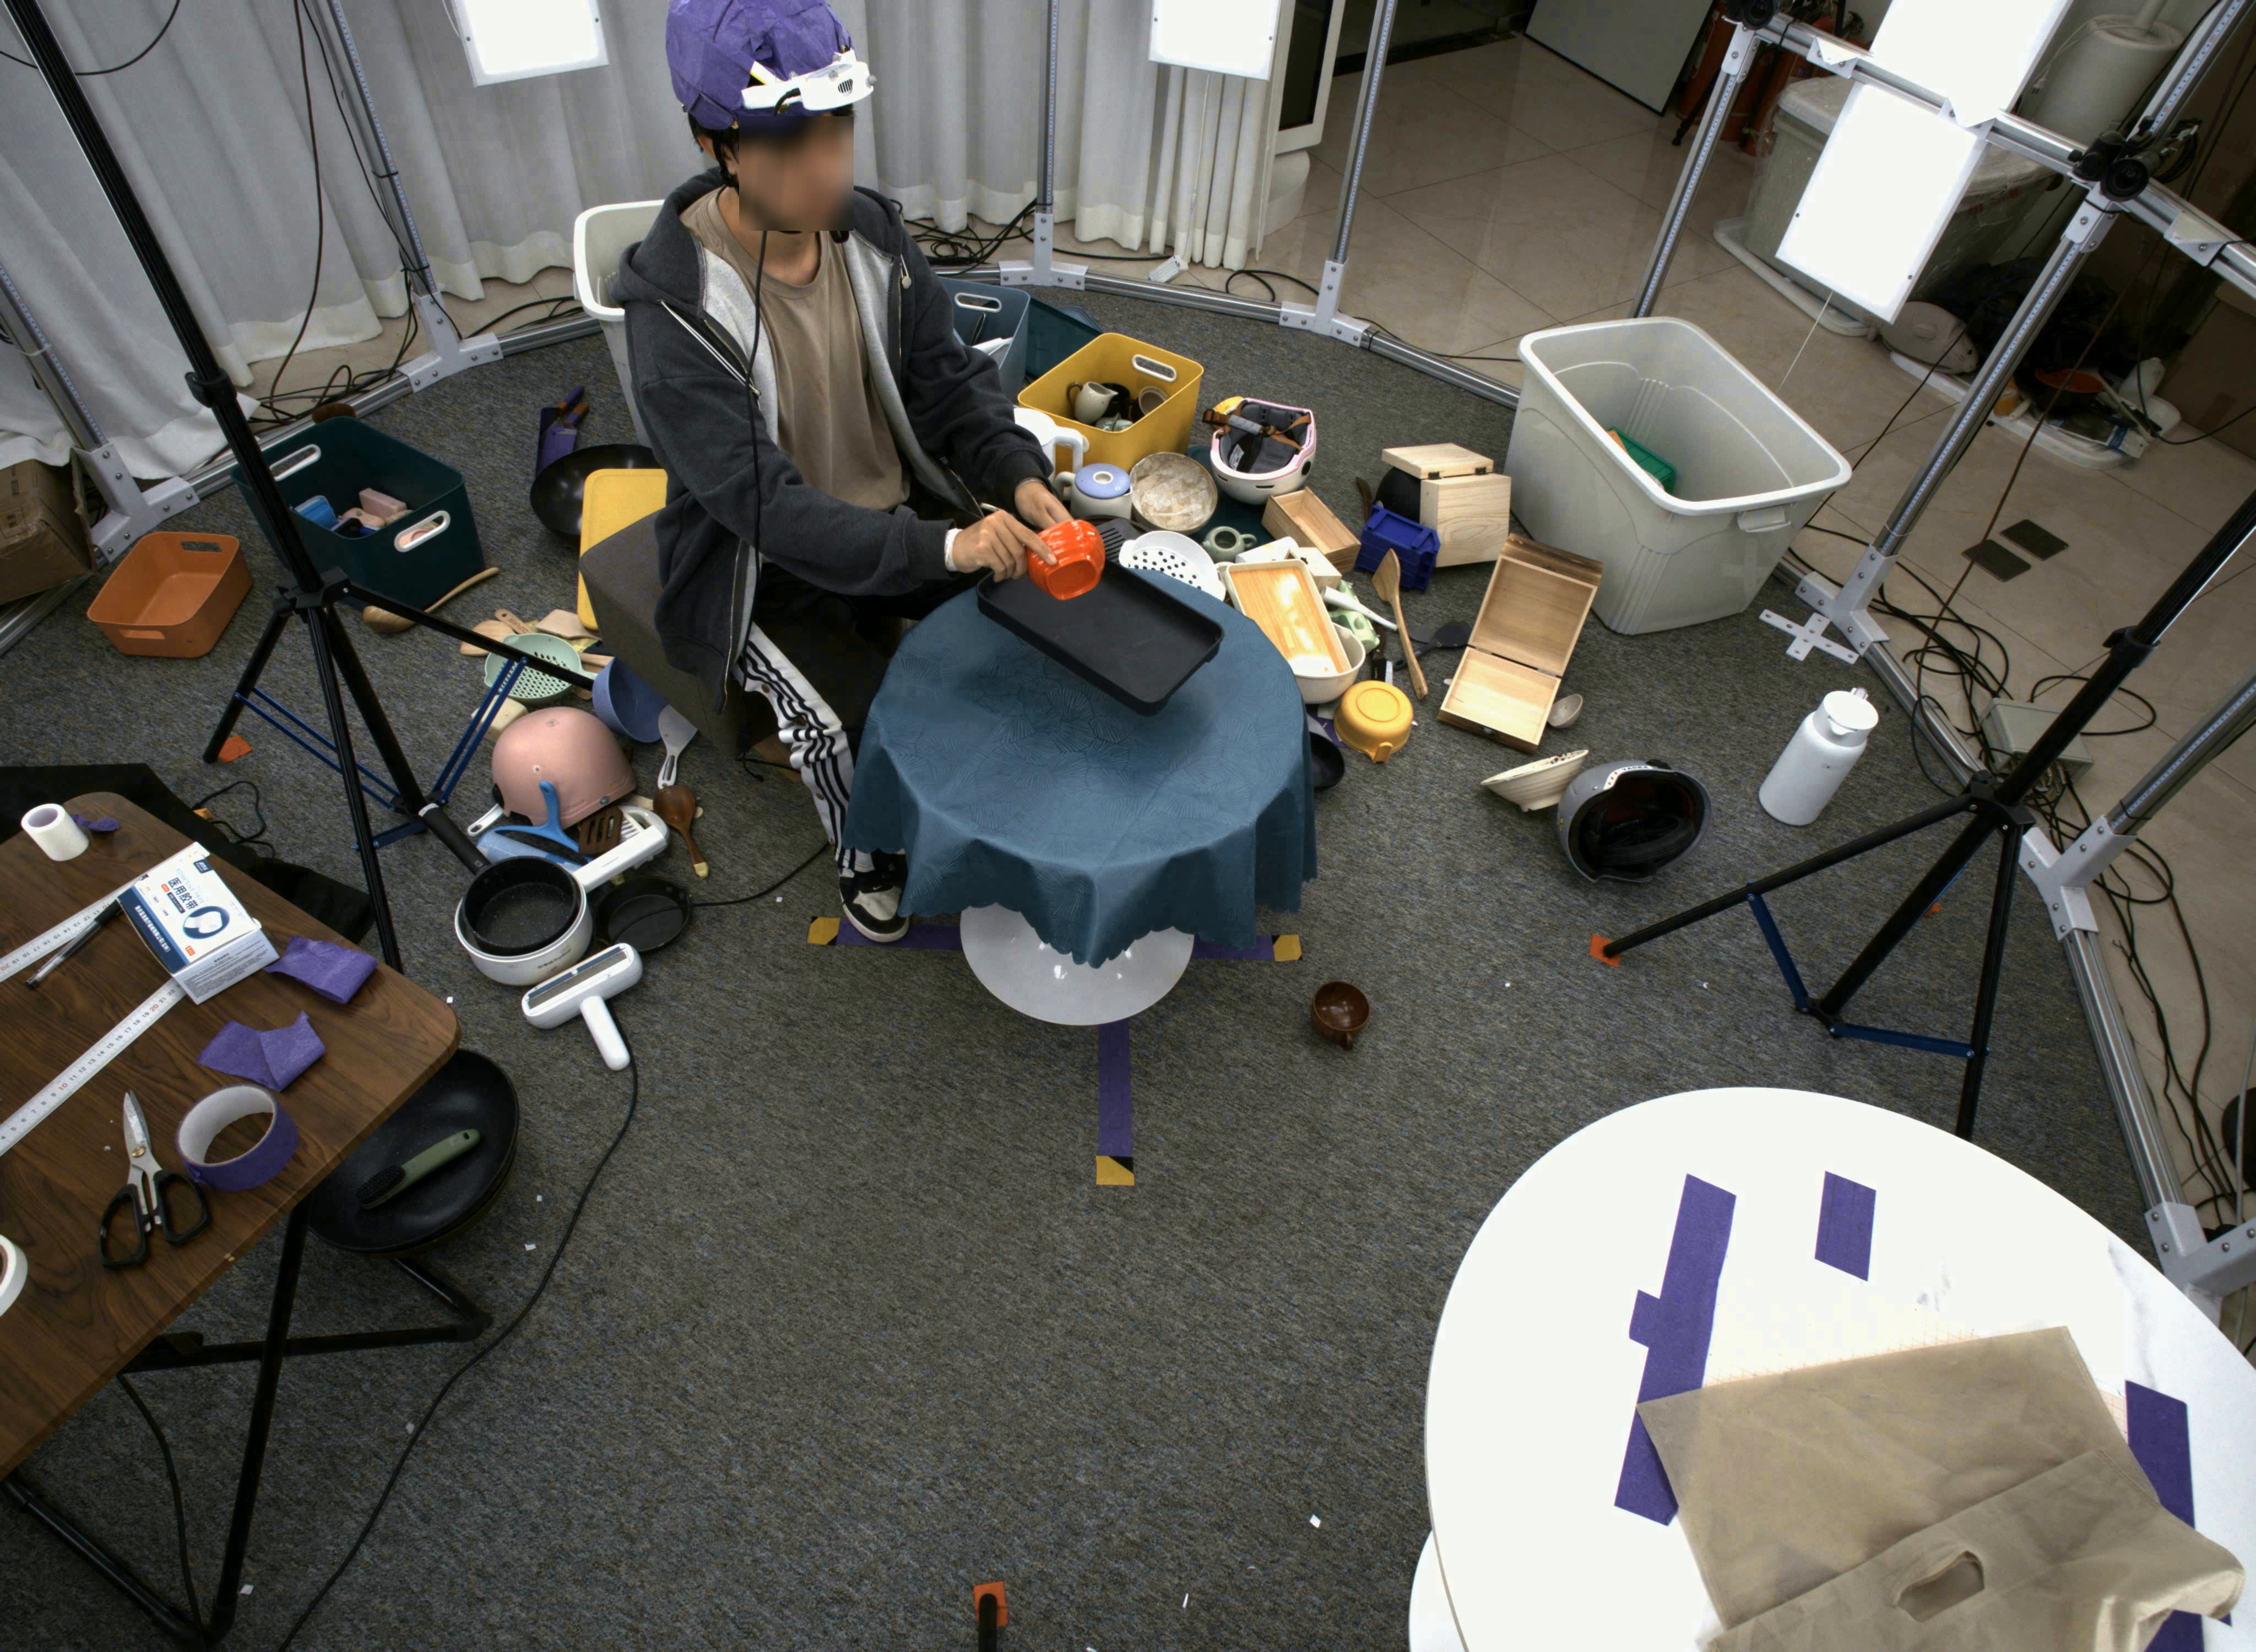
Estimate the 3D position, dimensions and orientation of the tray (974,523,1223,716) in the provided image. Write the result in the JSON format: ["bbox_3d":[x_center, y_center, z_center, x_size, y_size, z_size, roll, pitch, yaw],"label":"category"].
[{"bbox_3d":[-0.042,-0.290,1.781,0.321,0.036,0.186,34,58,17],"label":"tray"}]

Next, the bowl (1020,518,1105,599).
[{"bbox_3d":[-0.079,-0.338,1.667,0.119,0.116,0.052,-11,60,-14],"label":"bowl"}]
